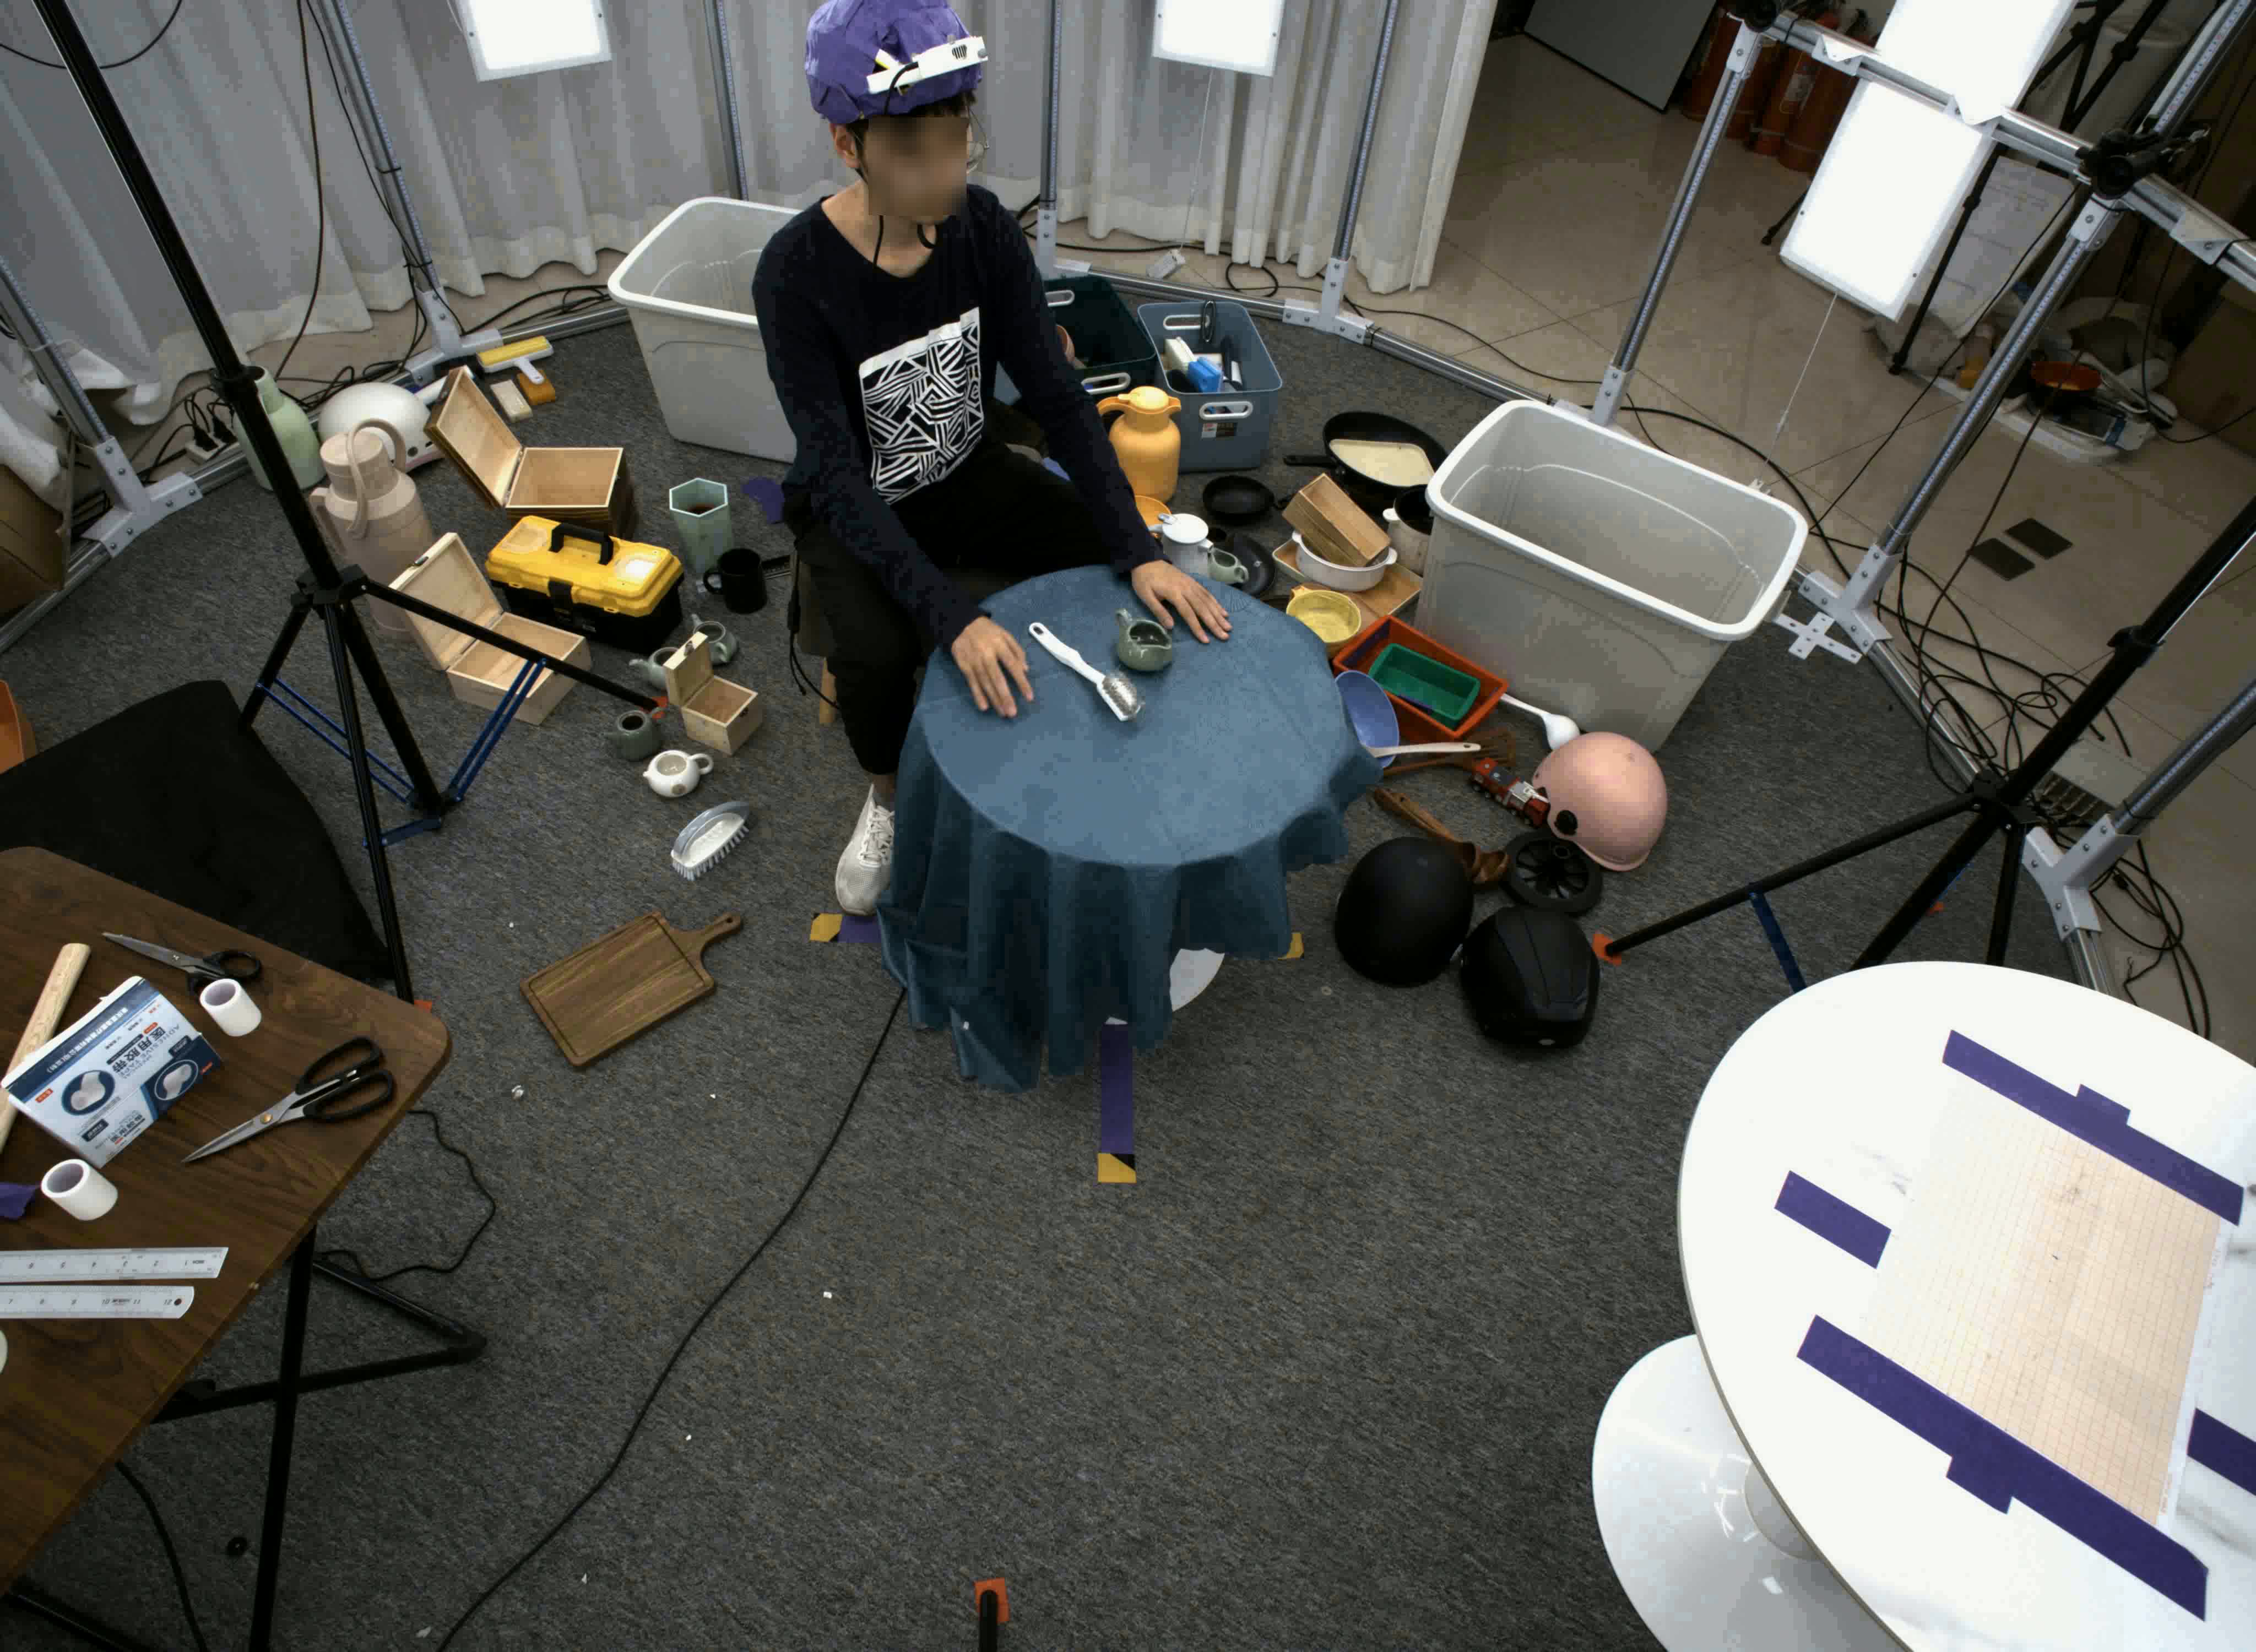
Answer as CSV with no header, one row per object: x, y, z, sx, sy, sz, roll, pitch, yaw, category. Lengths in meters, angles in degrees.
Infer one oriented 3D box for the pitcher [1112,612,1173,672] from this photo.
0.020,-0.267,1.866,0.114,0.055,0.085,36,54,27,pitcher

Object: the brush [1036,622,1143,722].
-0.060,-0.235,1.838,0.034,0.049,0.248,-29,56,-20,brush
